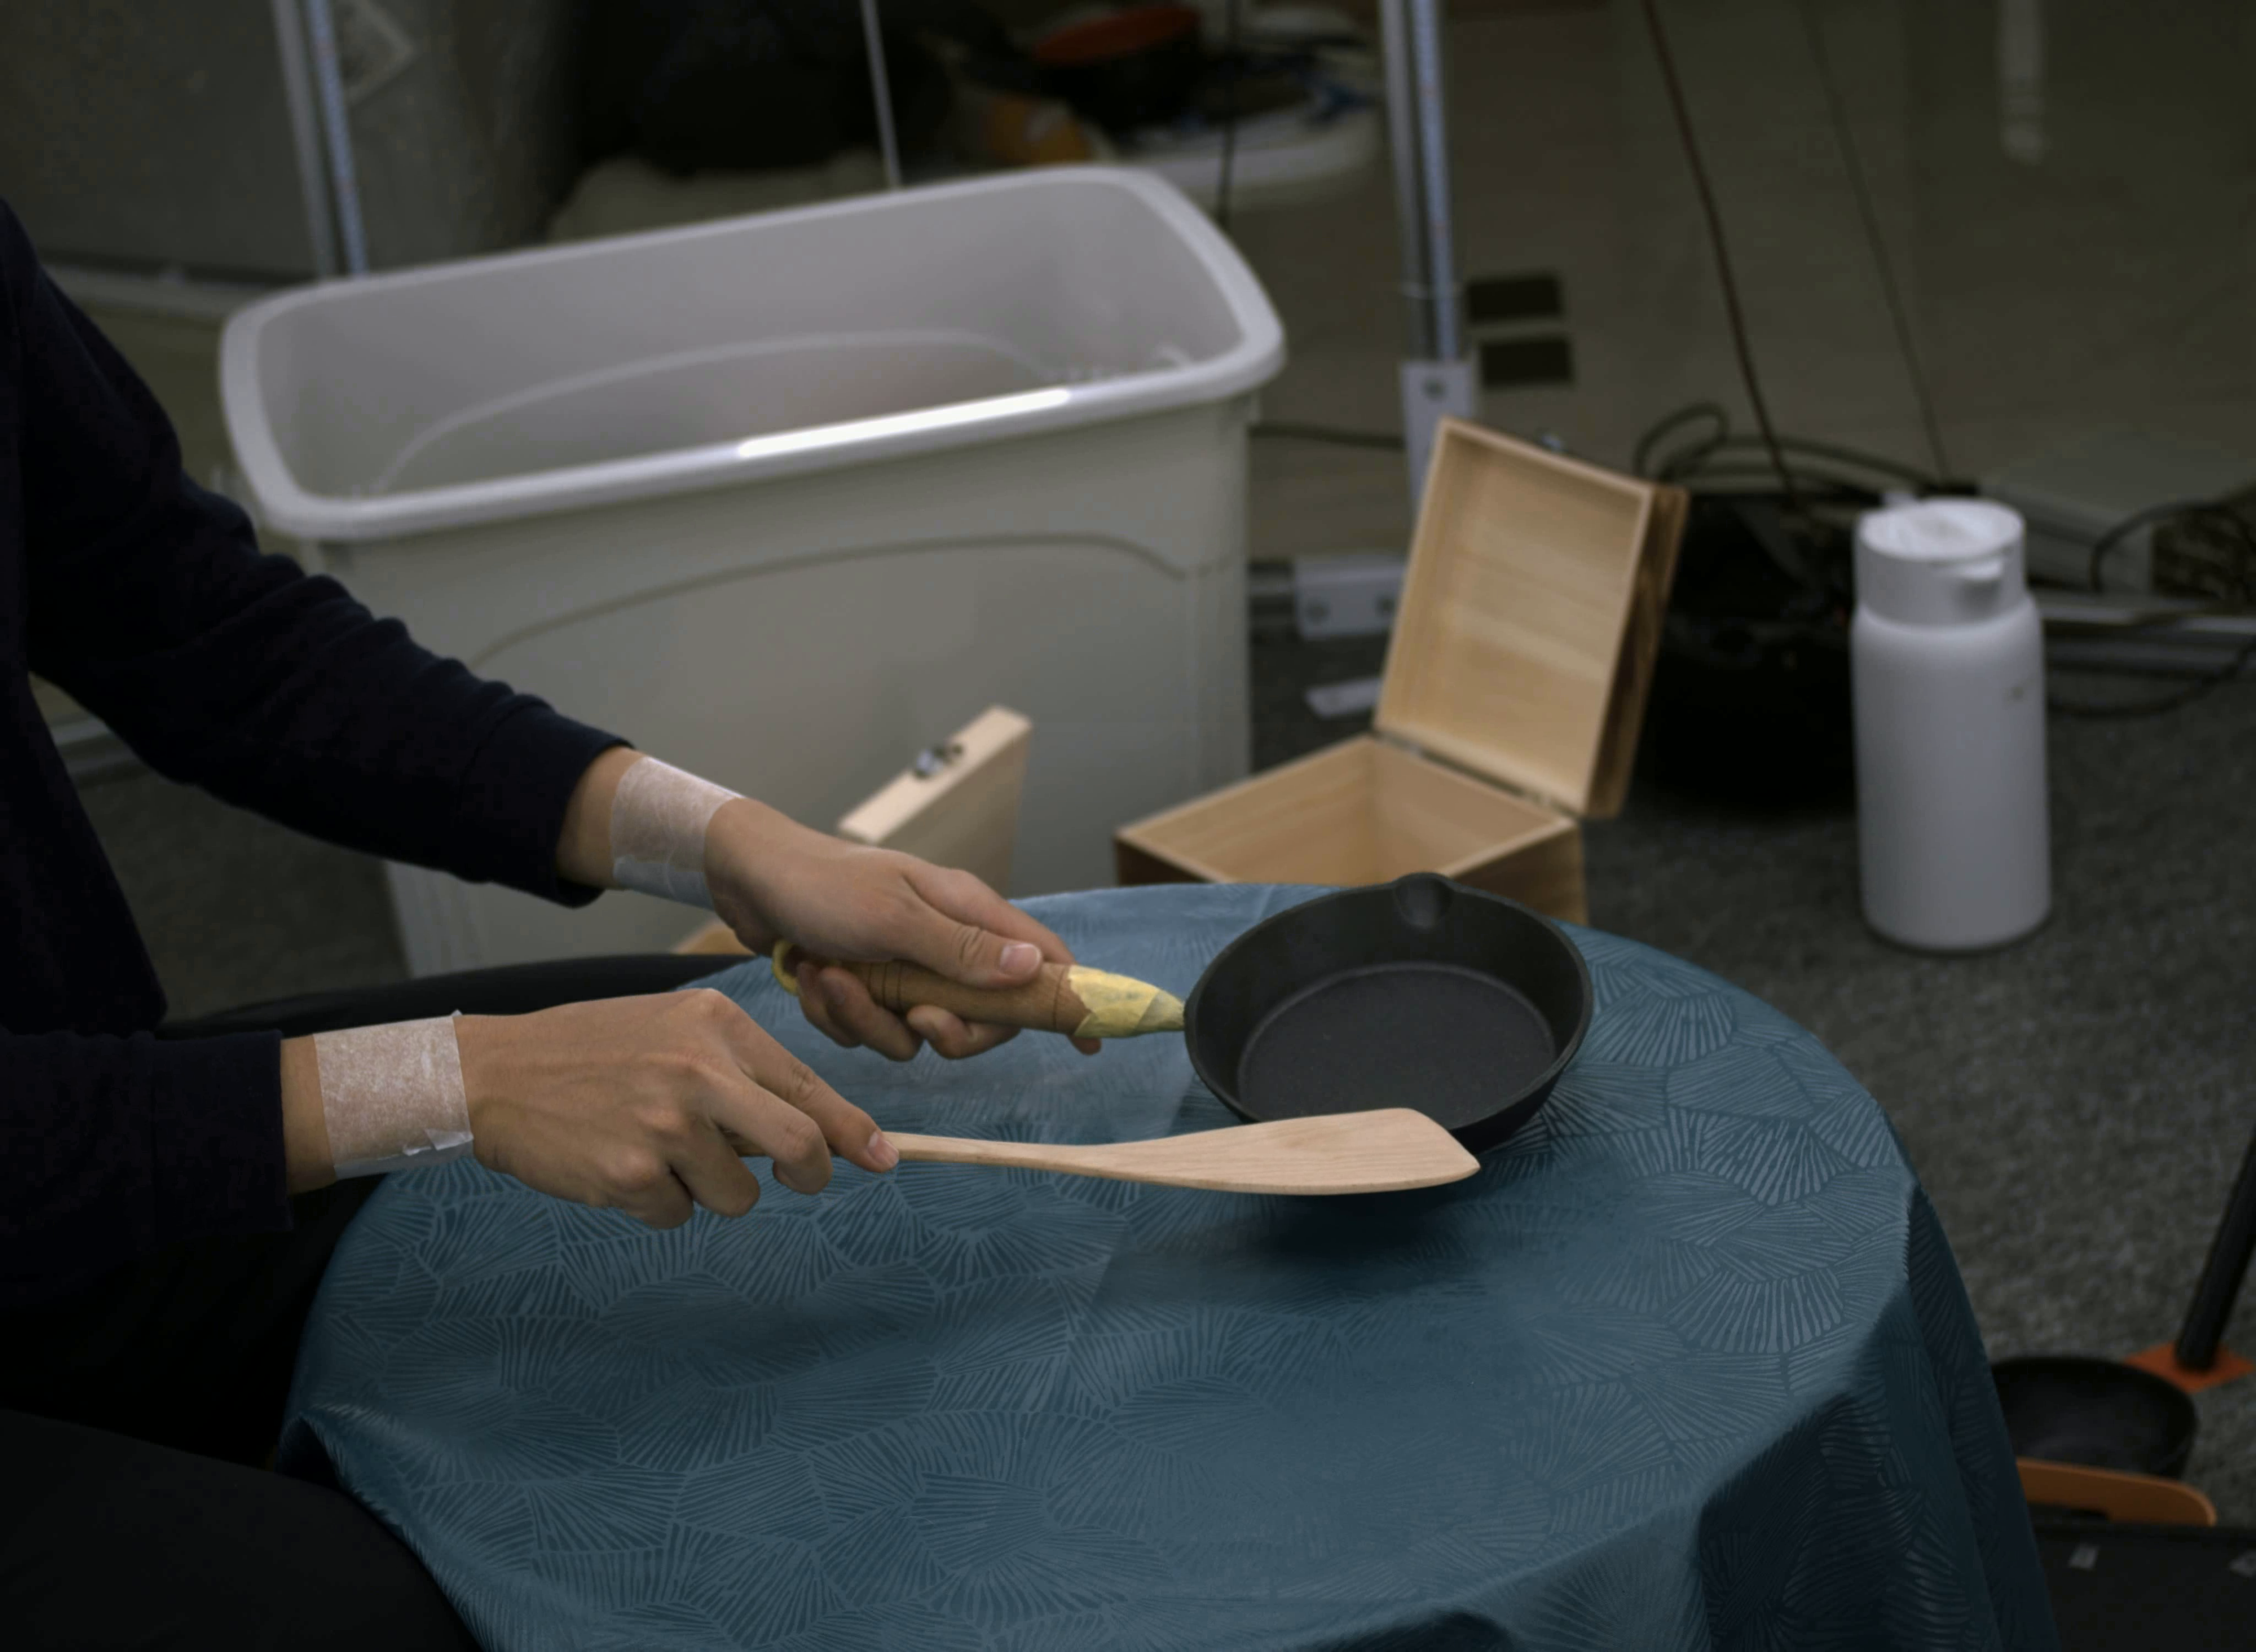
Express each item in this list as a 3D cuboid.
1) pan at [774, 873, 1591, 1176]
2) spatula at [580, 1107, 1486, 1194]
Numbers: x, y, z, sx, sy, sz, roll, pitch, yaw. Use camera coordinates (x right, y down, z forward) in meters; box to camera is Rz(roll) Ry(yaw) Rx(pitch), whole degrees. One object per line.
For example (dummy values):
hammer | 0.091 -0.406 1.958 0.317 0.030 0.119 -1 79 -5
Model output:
pan | 0.019 0.071 2.196 0.323 0.050 0.166 4 39 16
spatula | -0.036 0.116 2.071 0.327 0.017 0.079 2 16 -8
